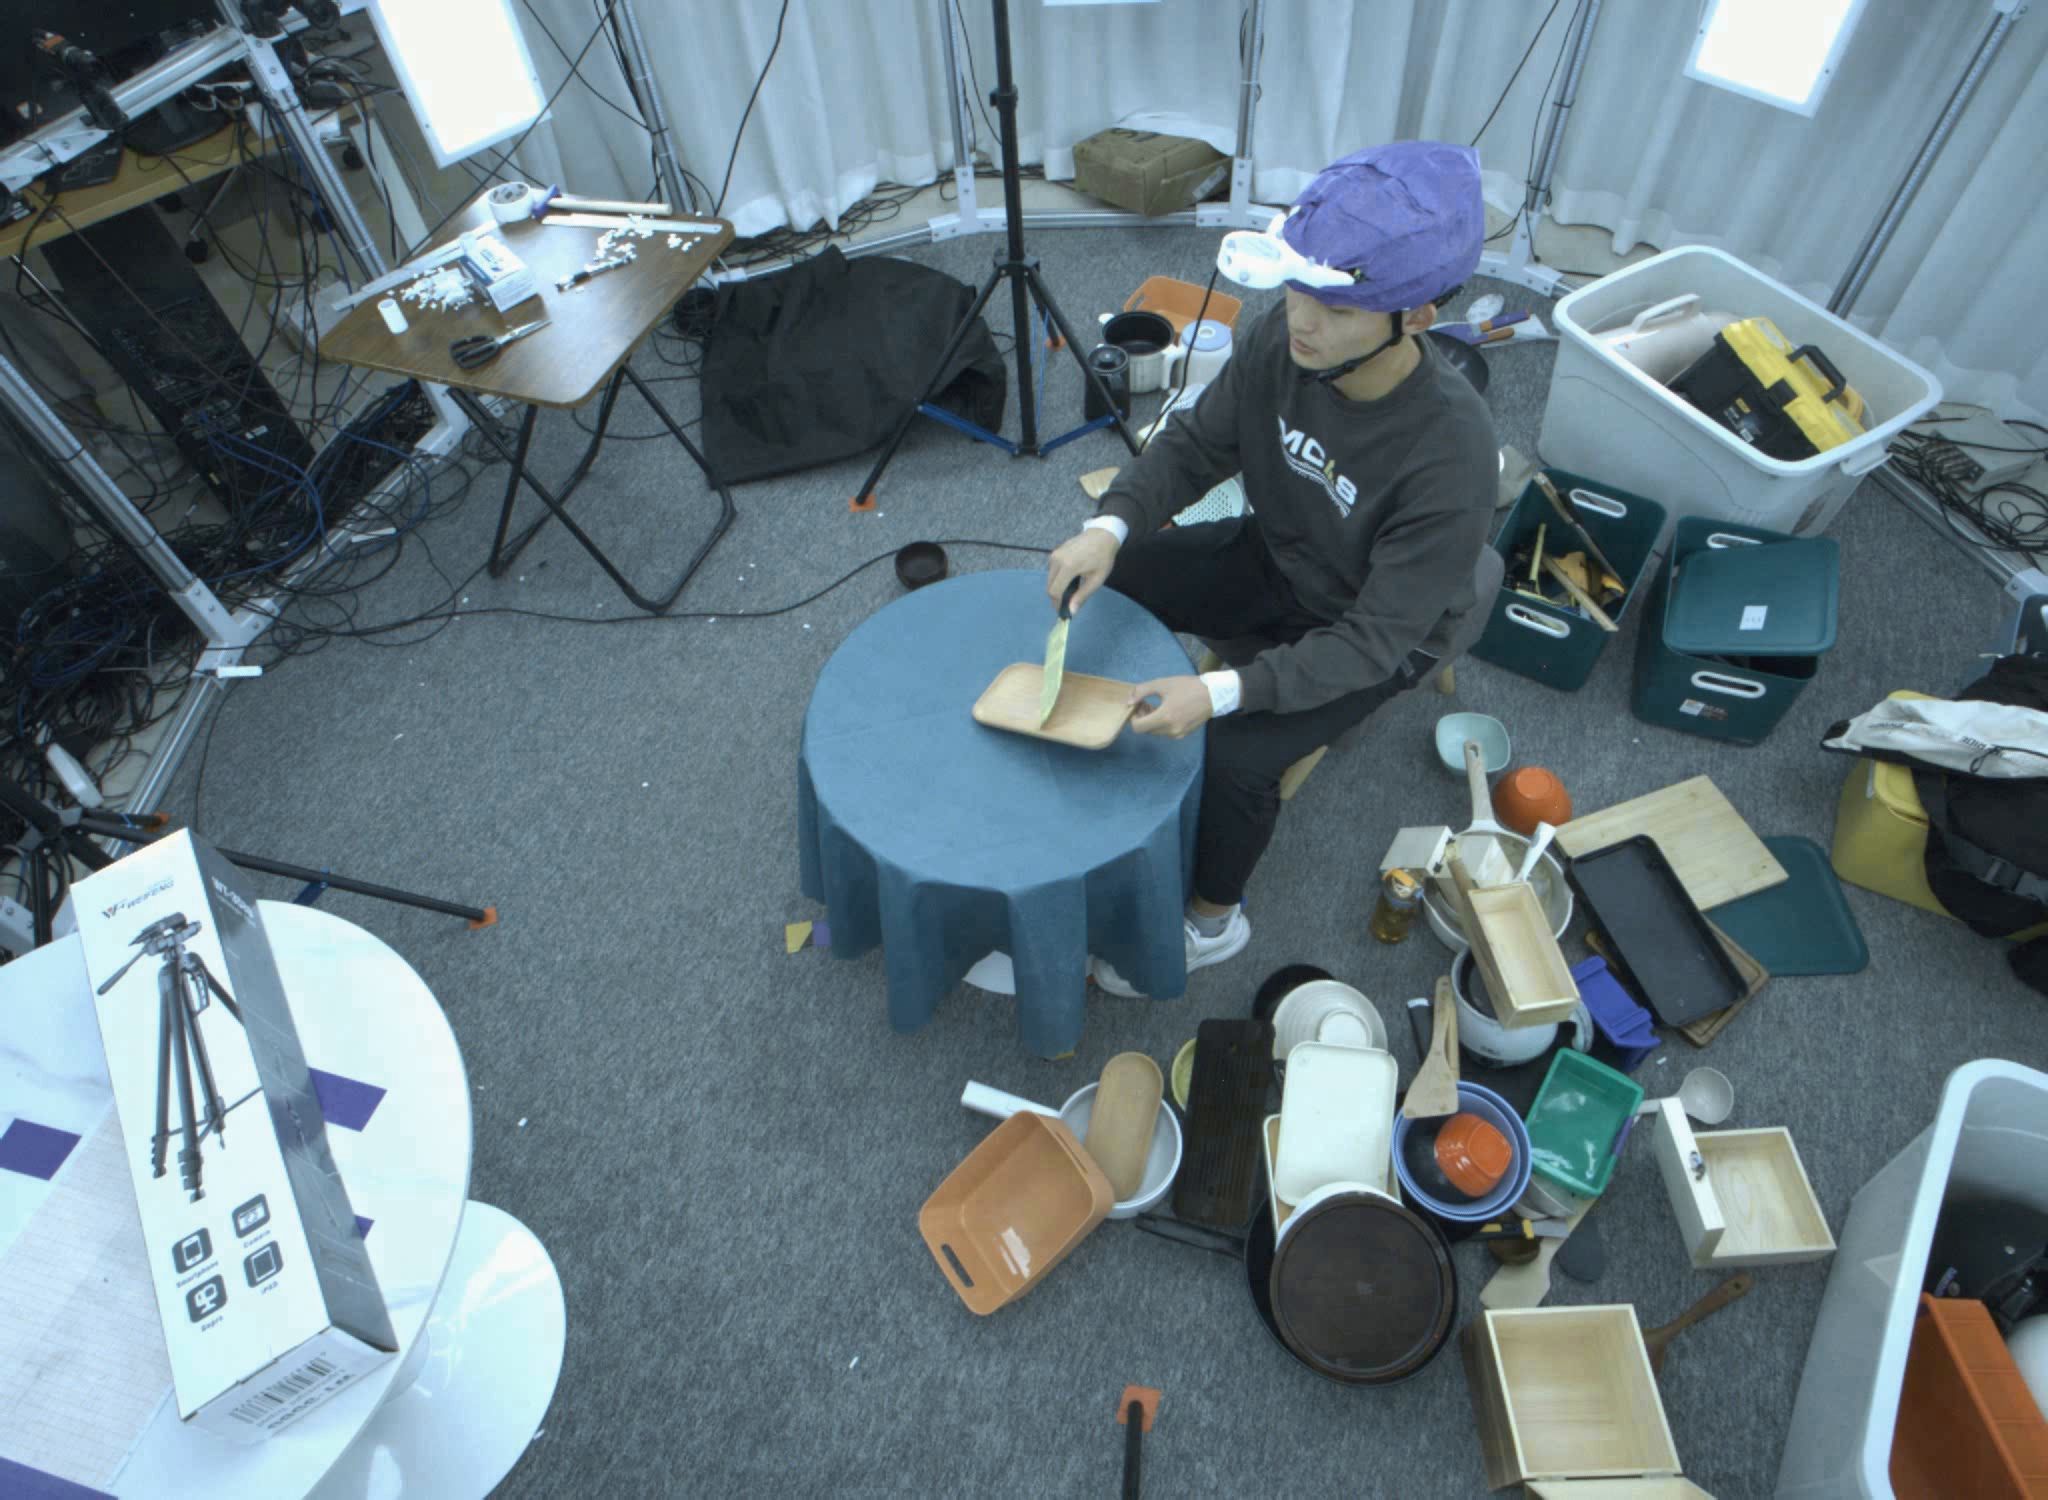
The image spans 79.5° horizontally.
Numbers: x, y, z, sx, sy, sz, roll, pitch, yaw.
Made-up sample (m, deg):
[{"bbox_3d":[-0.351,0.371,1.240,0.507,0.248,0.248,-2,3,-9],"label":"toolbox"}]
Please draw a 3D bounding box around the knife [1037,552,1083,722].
[{"bbox_3d":[0.050,-0.168,1.805,0.027,0.080,0.288,21,63,-18],"label":"knife"}]

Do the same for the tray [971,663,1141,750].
[{"bbox_3d":[0.044,-0.065,1.785,0.245,0.023,0.131,13,51,35],"label":"tray"}]
